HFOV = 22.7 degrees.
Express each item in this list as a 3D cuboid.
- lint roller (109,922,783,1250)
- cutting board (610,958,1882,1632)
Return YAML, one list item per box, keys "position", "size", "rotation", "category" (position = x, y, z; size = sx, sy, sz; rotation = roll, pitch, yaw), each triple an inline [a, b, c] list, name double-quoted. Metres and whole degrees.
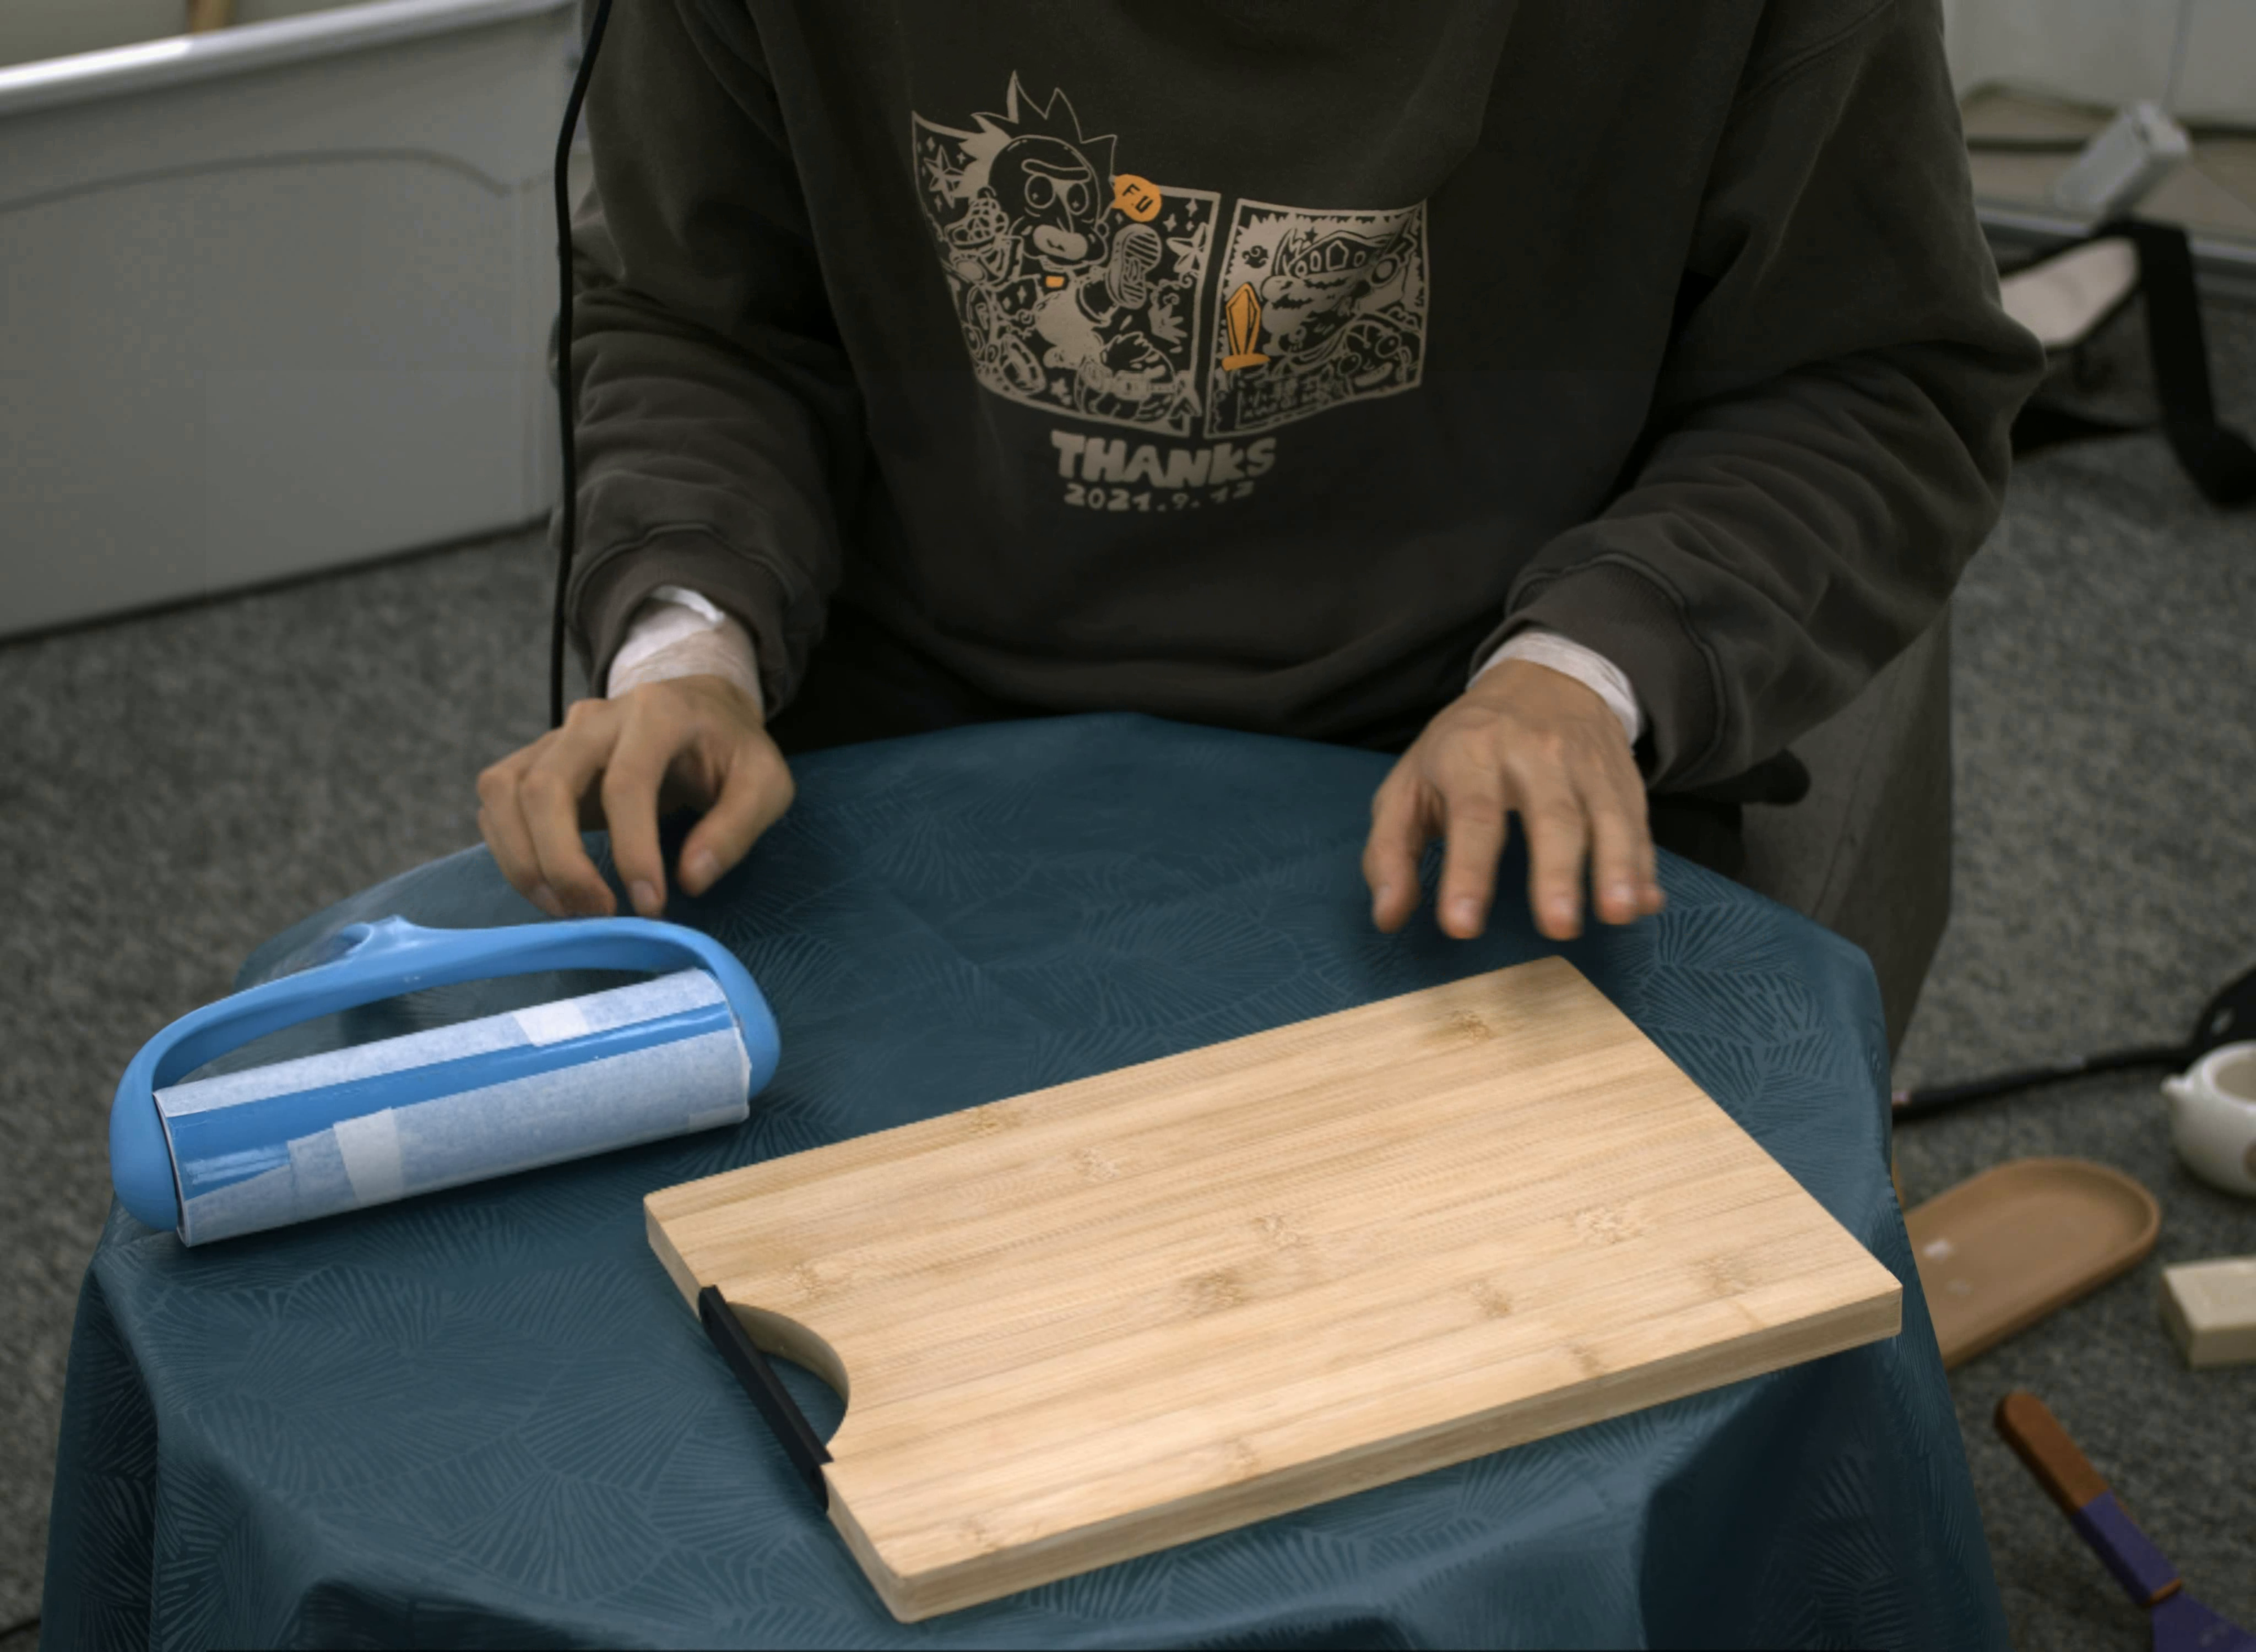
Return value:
- position: [-0.248, 0.068, 1.926]
  size: [0.229, 0.067, 0.182]
  rotation: [-14, 31, -18]
  category: "lint roller"
- position: [0.036, 0.143, 1.800]
  size: [0.350, 0.023, 0.252]
  rotation: [-14, 29, -20]
  category: "cutting board"
